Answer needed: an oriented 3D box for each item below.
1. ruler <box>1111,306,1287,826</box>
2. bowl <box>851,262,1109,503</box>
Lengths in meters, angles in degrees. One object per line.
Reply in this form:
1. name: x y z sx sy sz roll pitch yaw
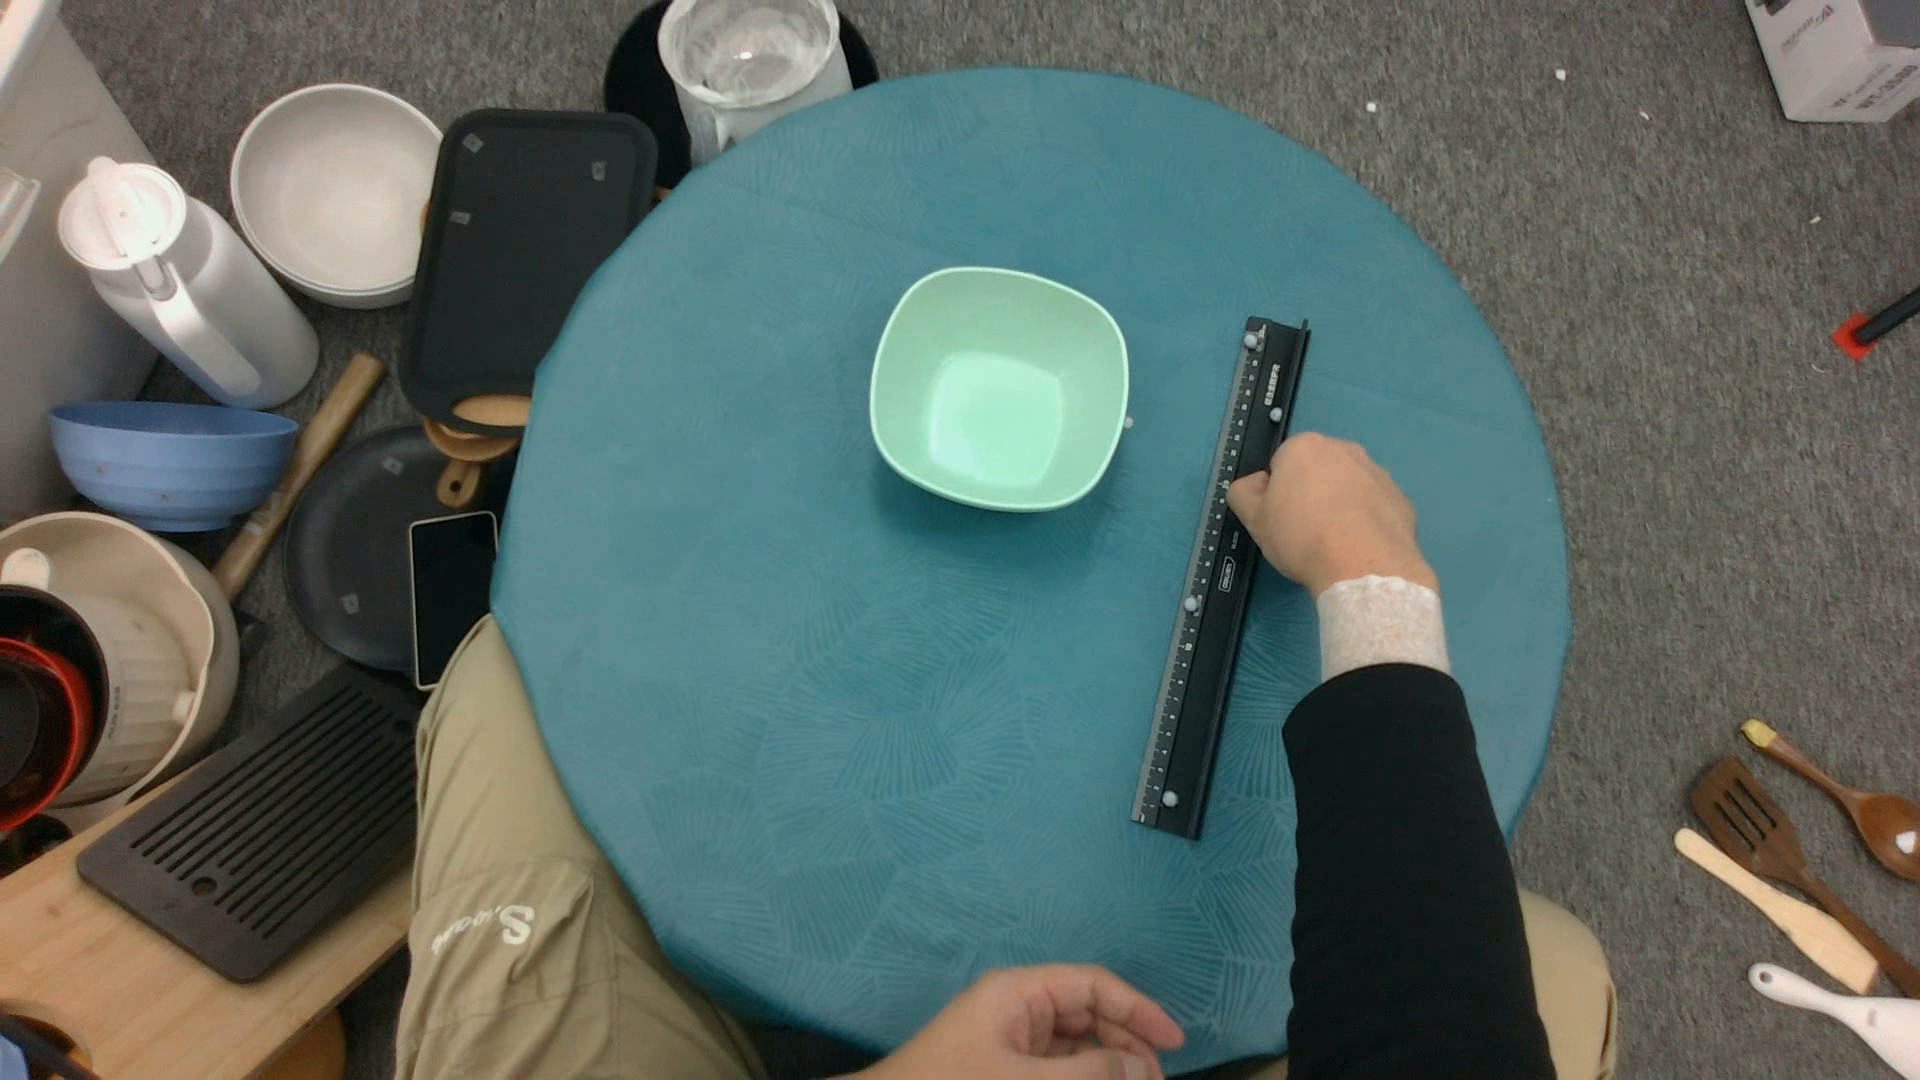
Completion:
1. ruler: 0.139 0.003 0.774 0.039 0.017 0.313 15 71 3
2. bowl: 0.009 -0.079 0.768 0.151 0.058 0.152 2 70 -6
